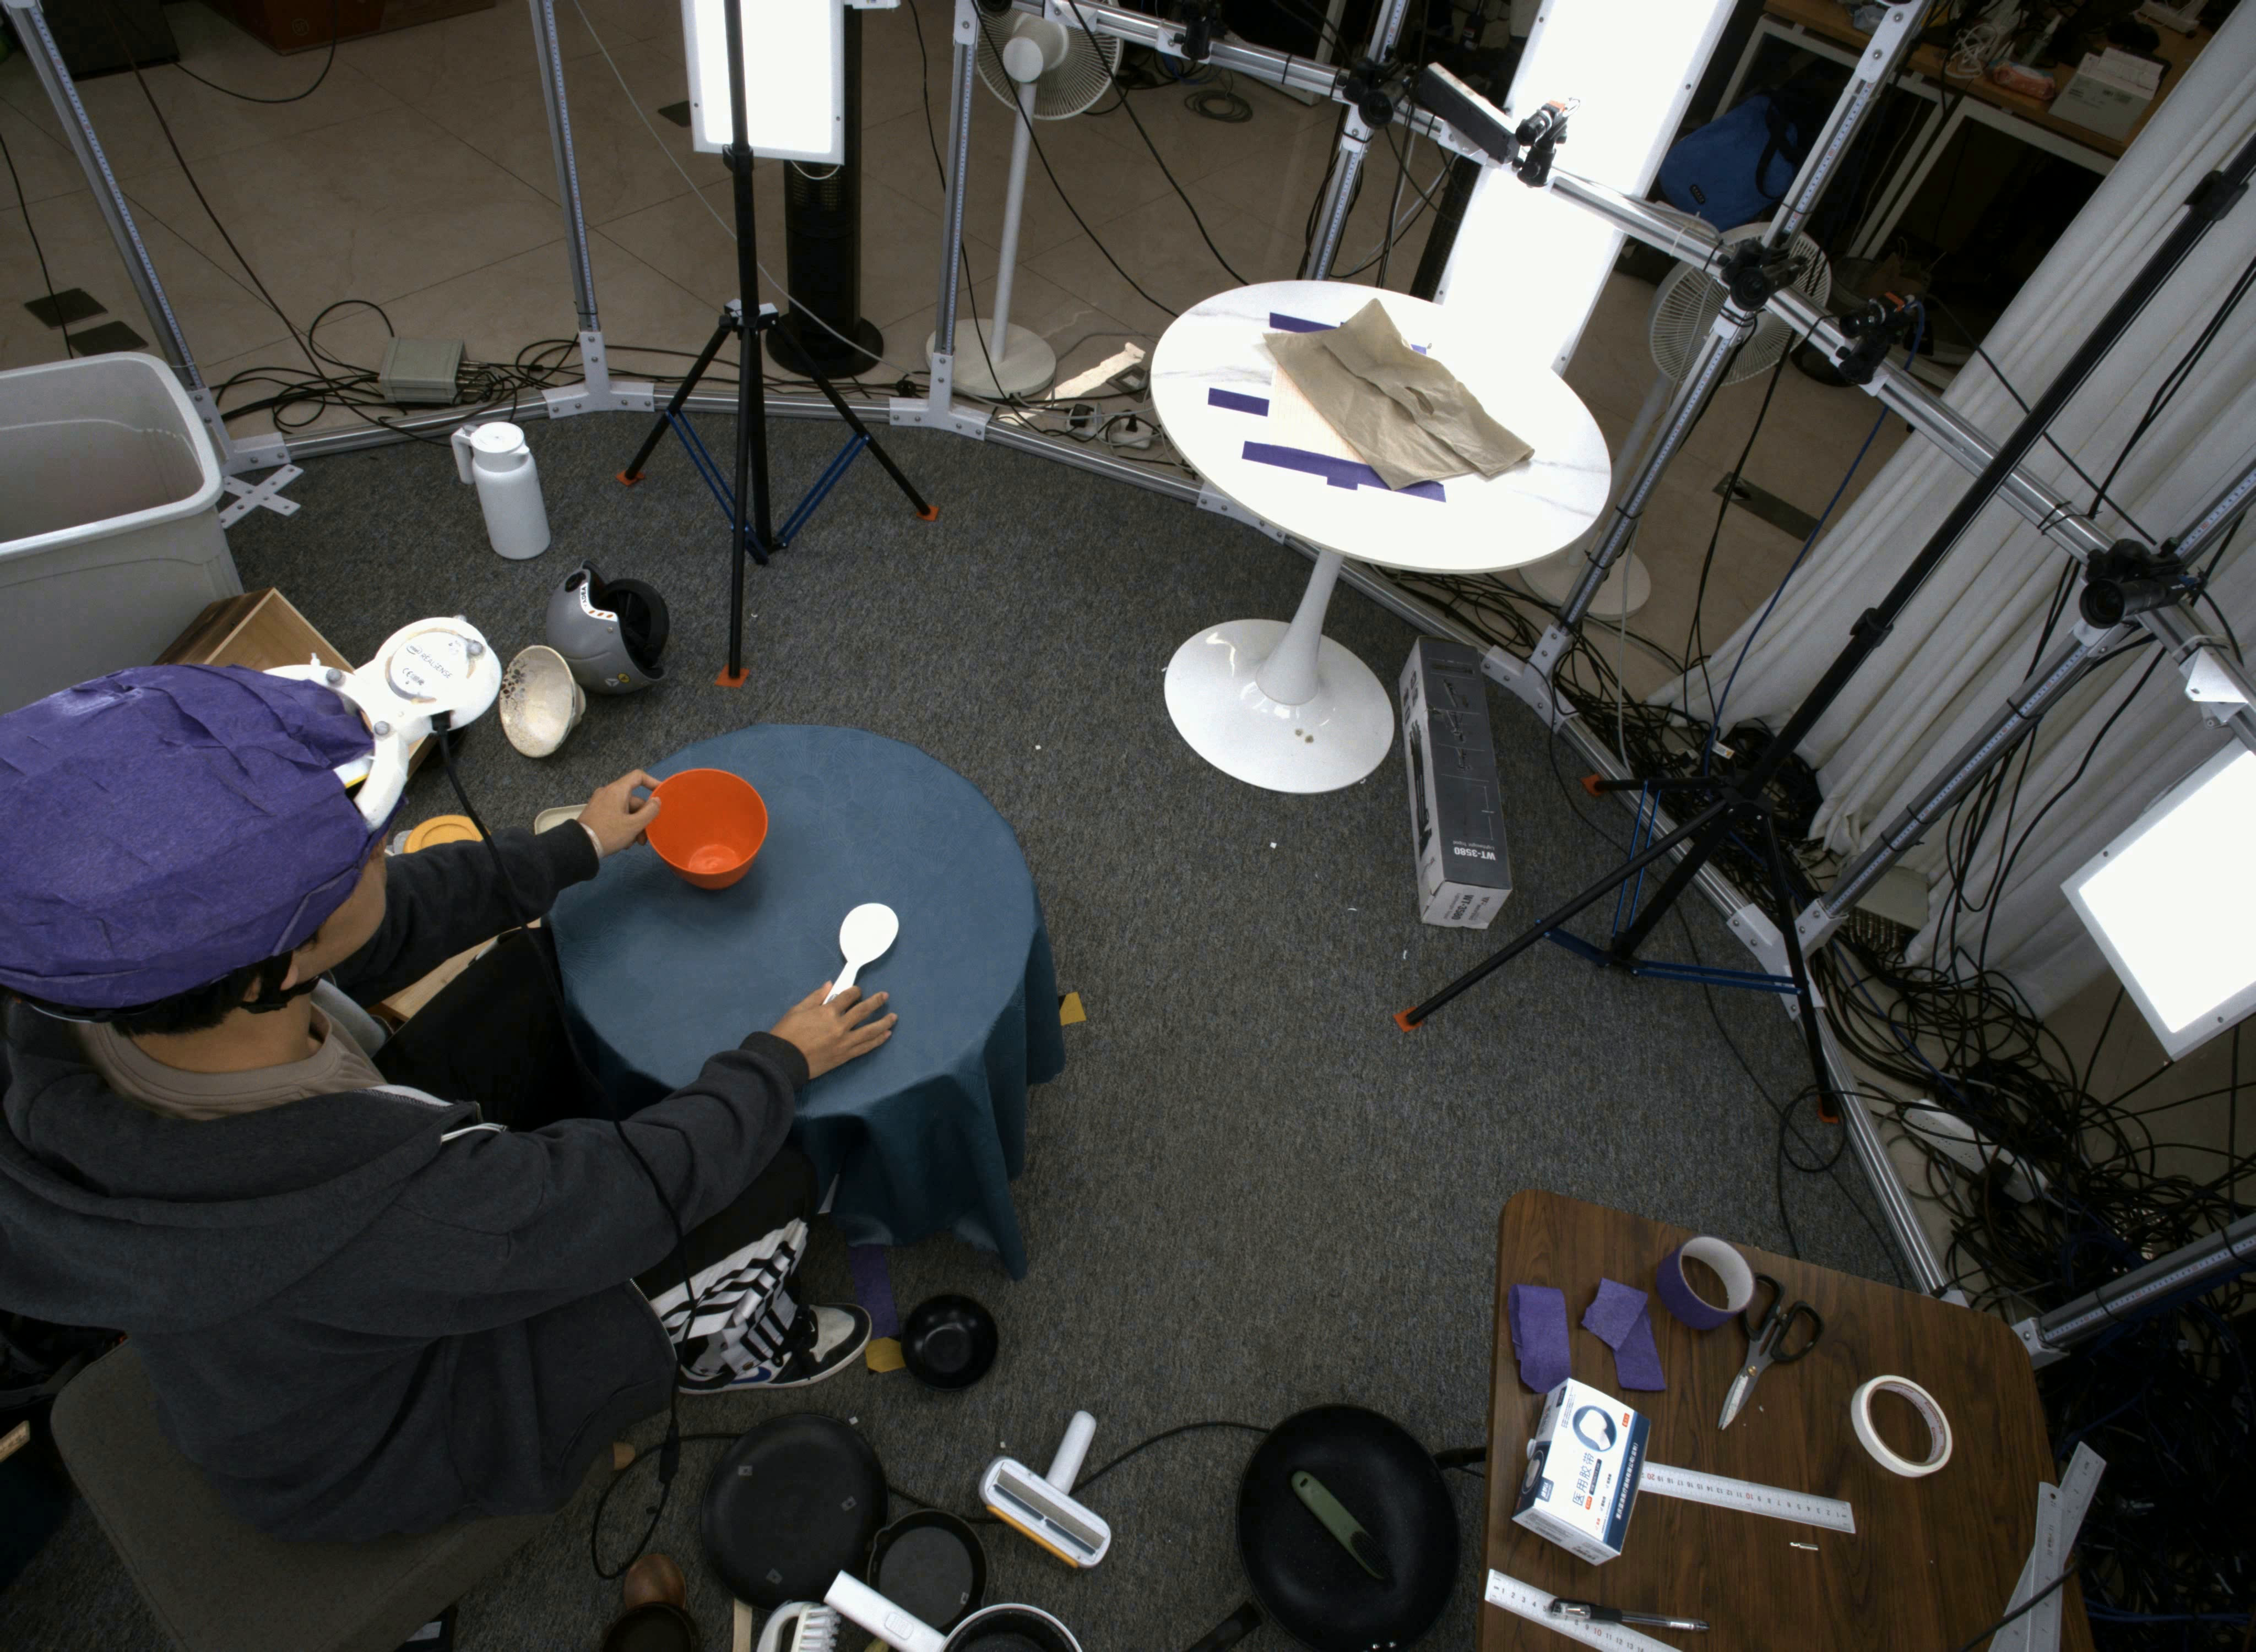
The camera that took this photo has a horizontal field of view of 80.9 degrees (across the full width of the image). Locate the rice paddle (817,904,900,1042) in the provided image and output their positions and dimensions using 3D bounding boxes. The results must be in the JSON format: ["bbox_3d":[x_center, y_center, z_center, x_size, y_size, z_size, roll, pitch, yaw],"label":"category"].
[{"bbox_3d":[-0.335,0.170,1.600,0.068,0.030,0.202,16,49,-1],"label":"rice paddle"}]

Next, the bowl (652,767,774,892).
[{"bbox_3d":[-0.521,0.015,1.627,0.148,0.106,0.145,9,52,-9],"label":"bowl"}]
